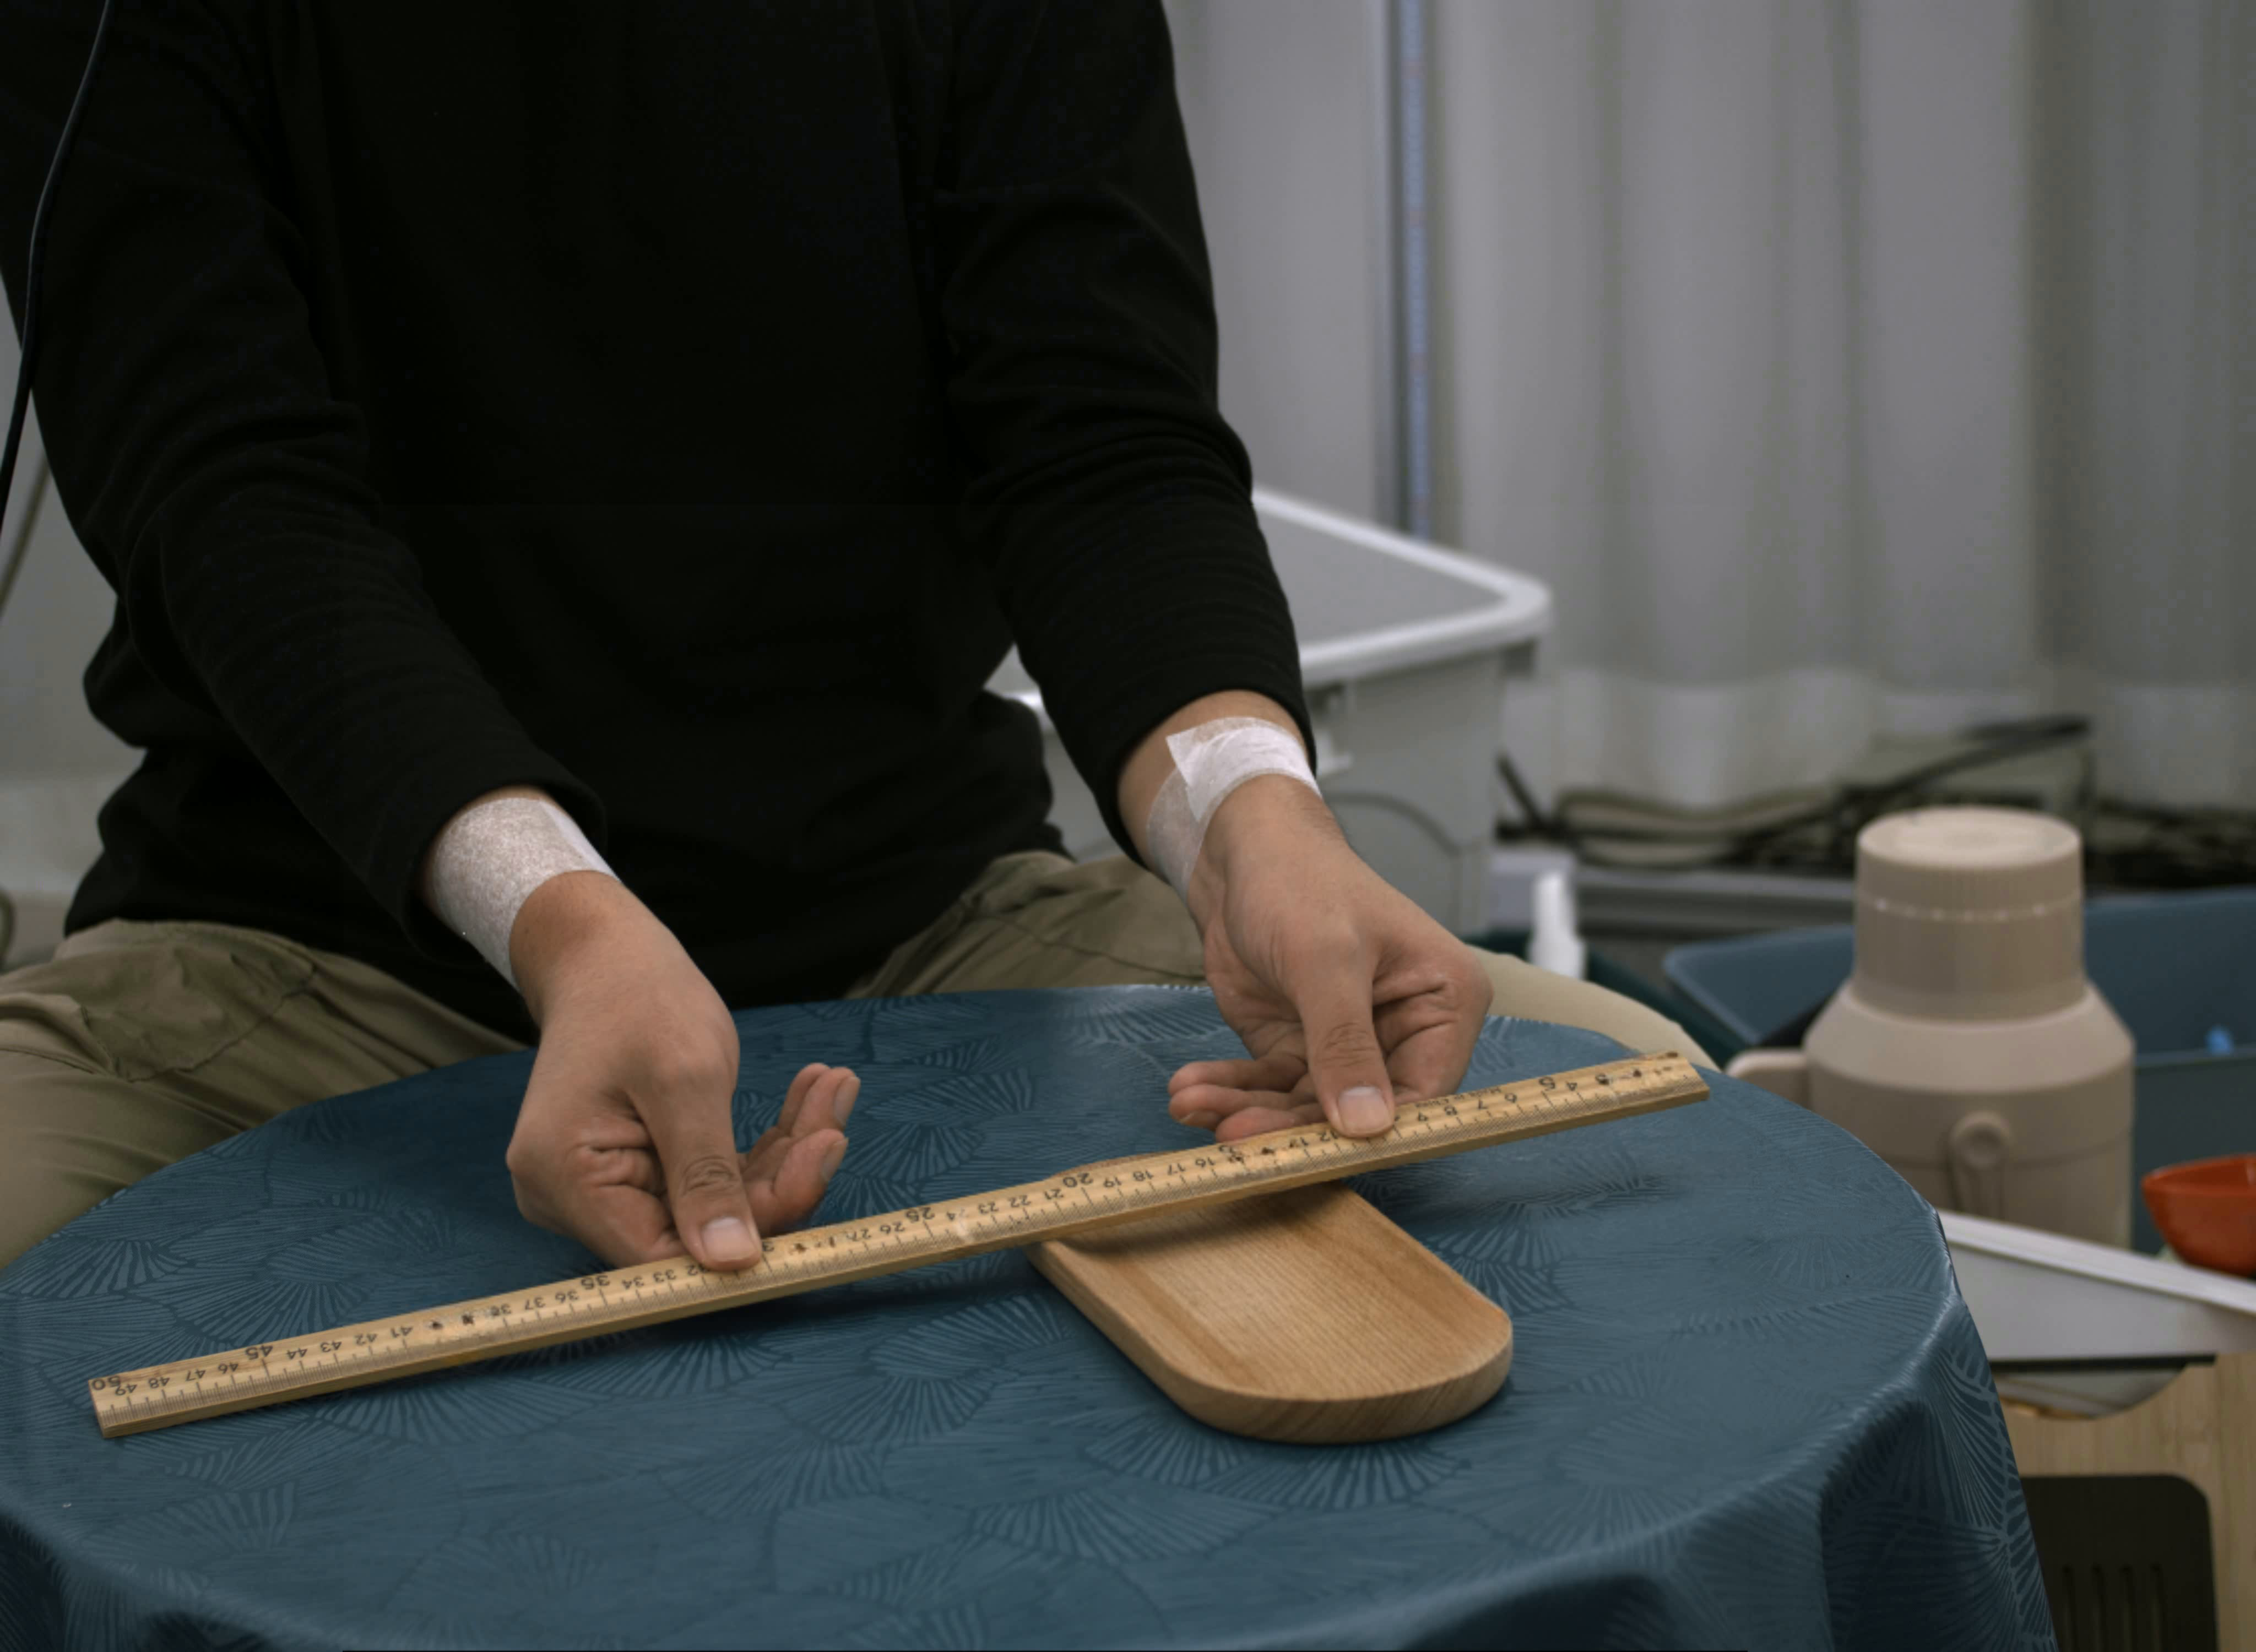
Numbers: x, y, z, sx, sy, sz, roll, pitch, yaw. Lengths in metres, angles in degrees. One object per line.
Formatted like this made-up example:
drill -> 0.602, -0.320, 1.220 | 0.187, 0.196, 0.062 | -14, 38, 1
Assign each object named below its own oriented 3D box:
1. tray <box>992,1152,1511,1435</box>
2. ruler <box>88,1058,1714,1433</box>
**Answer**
tray -> 0.034, 0.135, 1.600 | 0.101, 0.020, 0.233 | -7, 13, -20
ruler -> -0.059, 0.122, 1.627 | 0.498, 0.006, 0.027 | -10, 29, -15
